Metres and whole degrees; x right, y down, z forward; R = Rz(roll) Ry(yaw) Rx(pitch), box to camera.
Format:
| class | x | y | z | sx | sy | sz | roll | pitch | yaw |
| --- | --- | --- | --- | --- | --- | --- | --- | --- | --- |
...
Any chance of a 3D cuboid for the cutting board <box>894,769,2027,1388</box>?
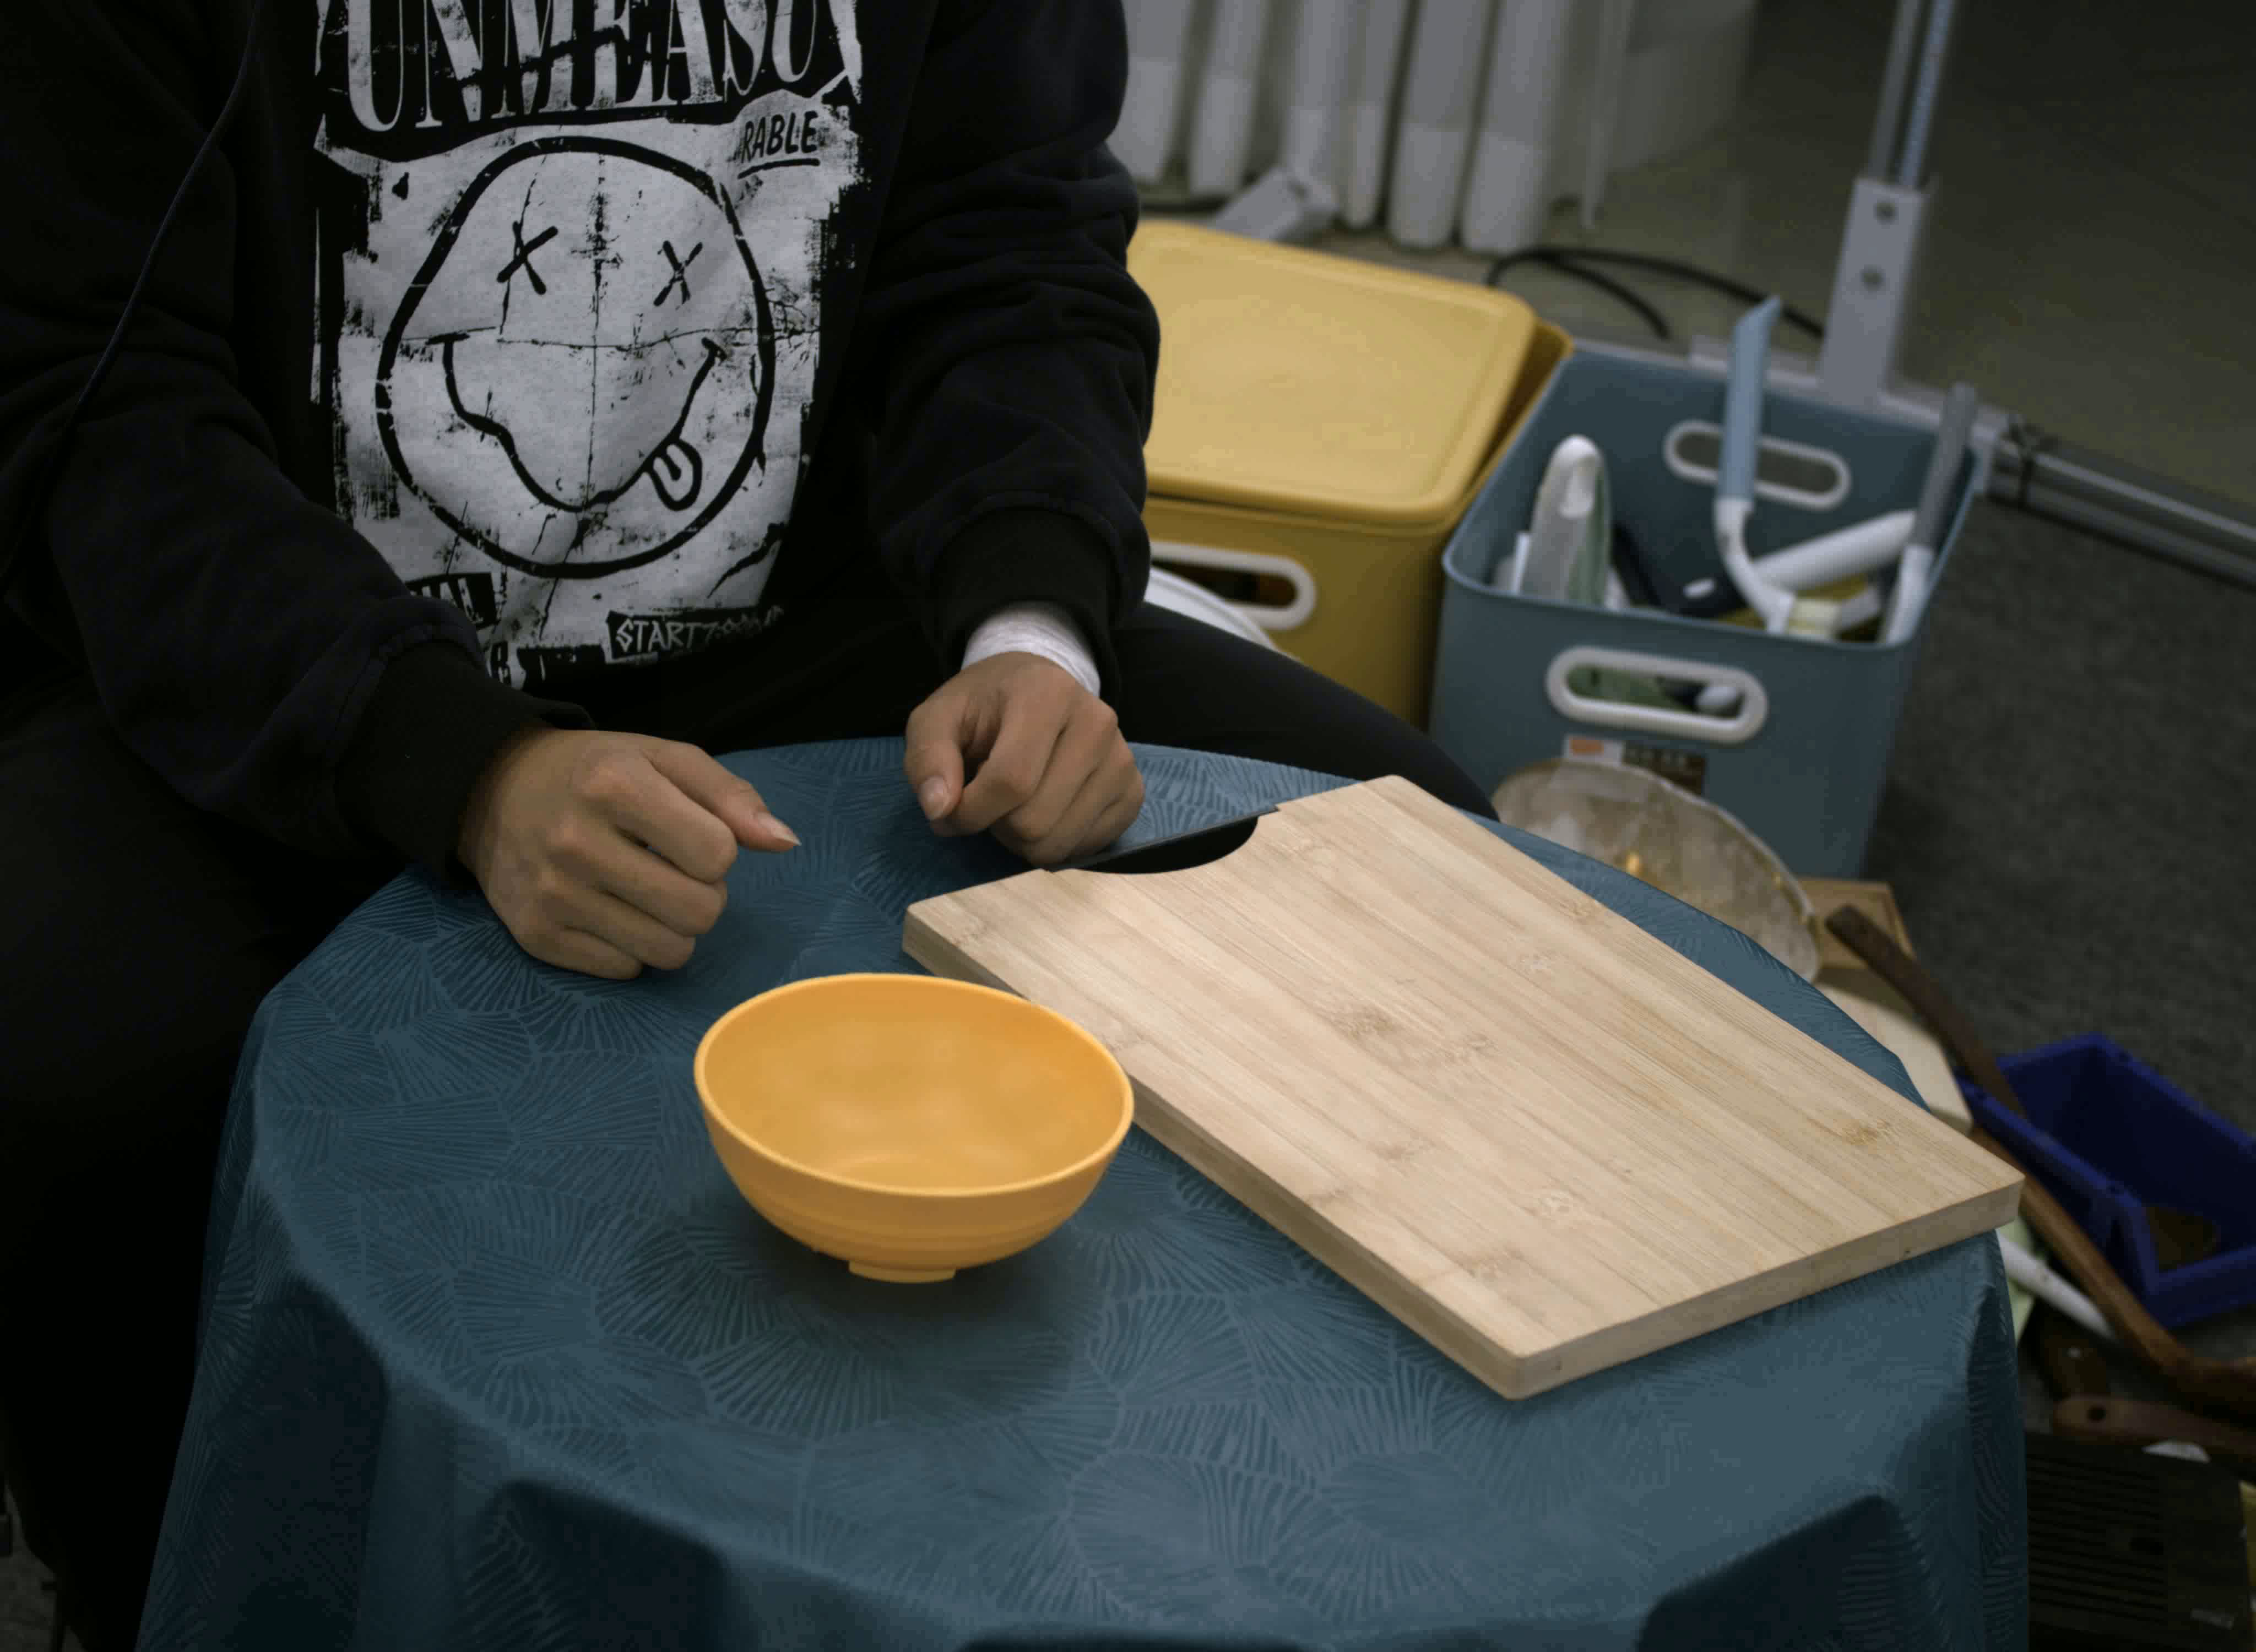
| class | x | y | z | sx | sy | sz | roll | pitch | yaw |
| --- | --- | --- | --- | --- | --- | --- | --- | --- | --- |
| cutting board | 0.112 | 0.082 | 1.891 | 0.249 | 0.023 | 0.351 | -15 | 34 | -36 |

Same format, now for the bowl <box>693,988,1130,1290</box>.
| class | x | y | z | sx | sy | sz | roll | pitch | yaw |
| --- | --- | --- | --- | --- | --- | --- | --- | --- | --- |
| bowl | -0.074 | 0.111 | 1.748 | 0.145 | 0.060 | 0.146 | 6 | 24 | -3 |
